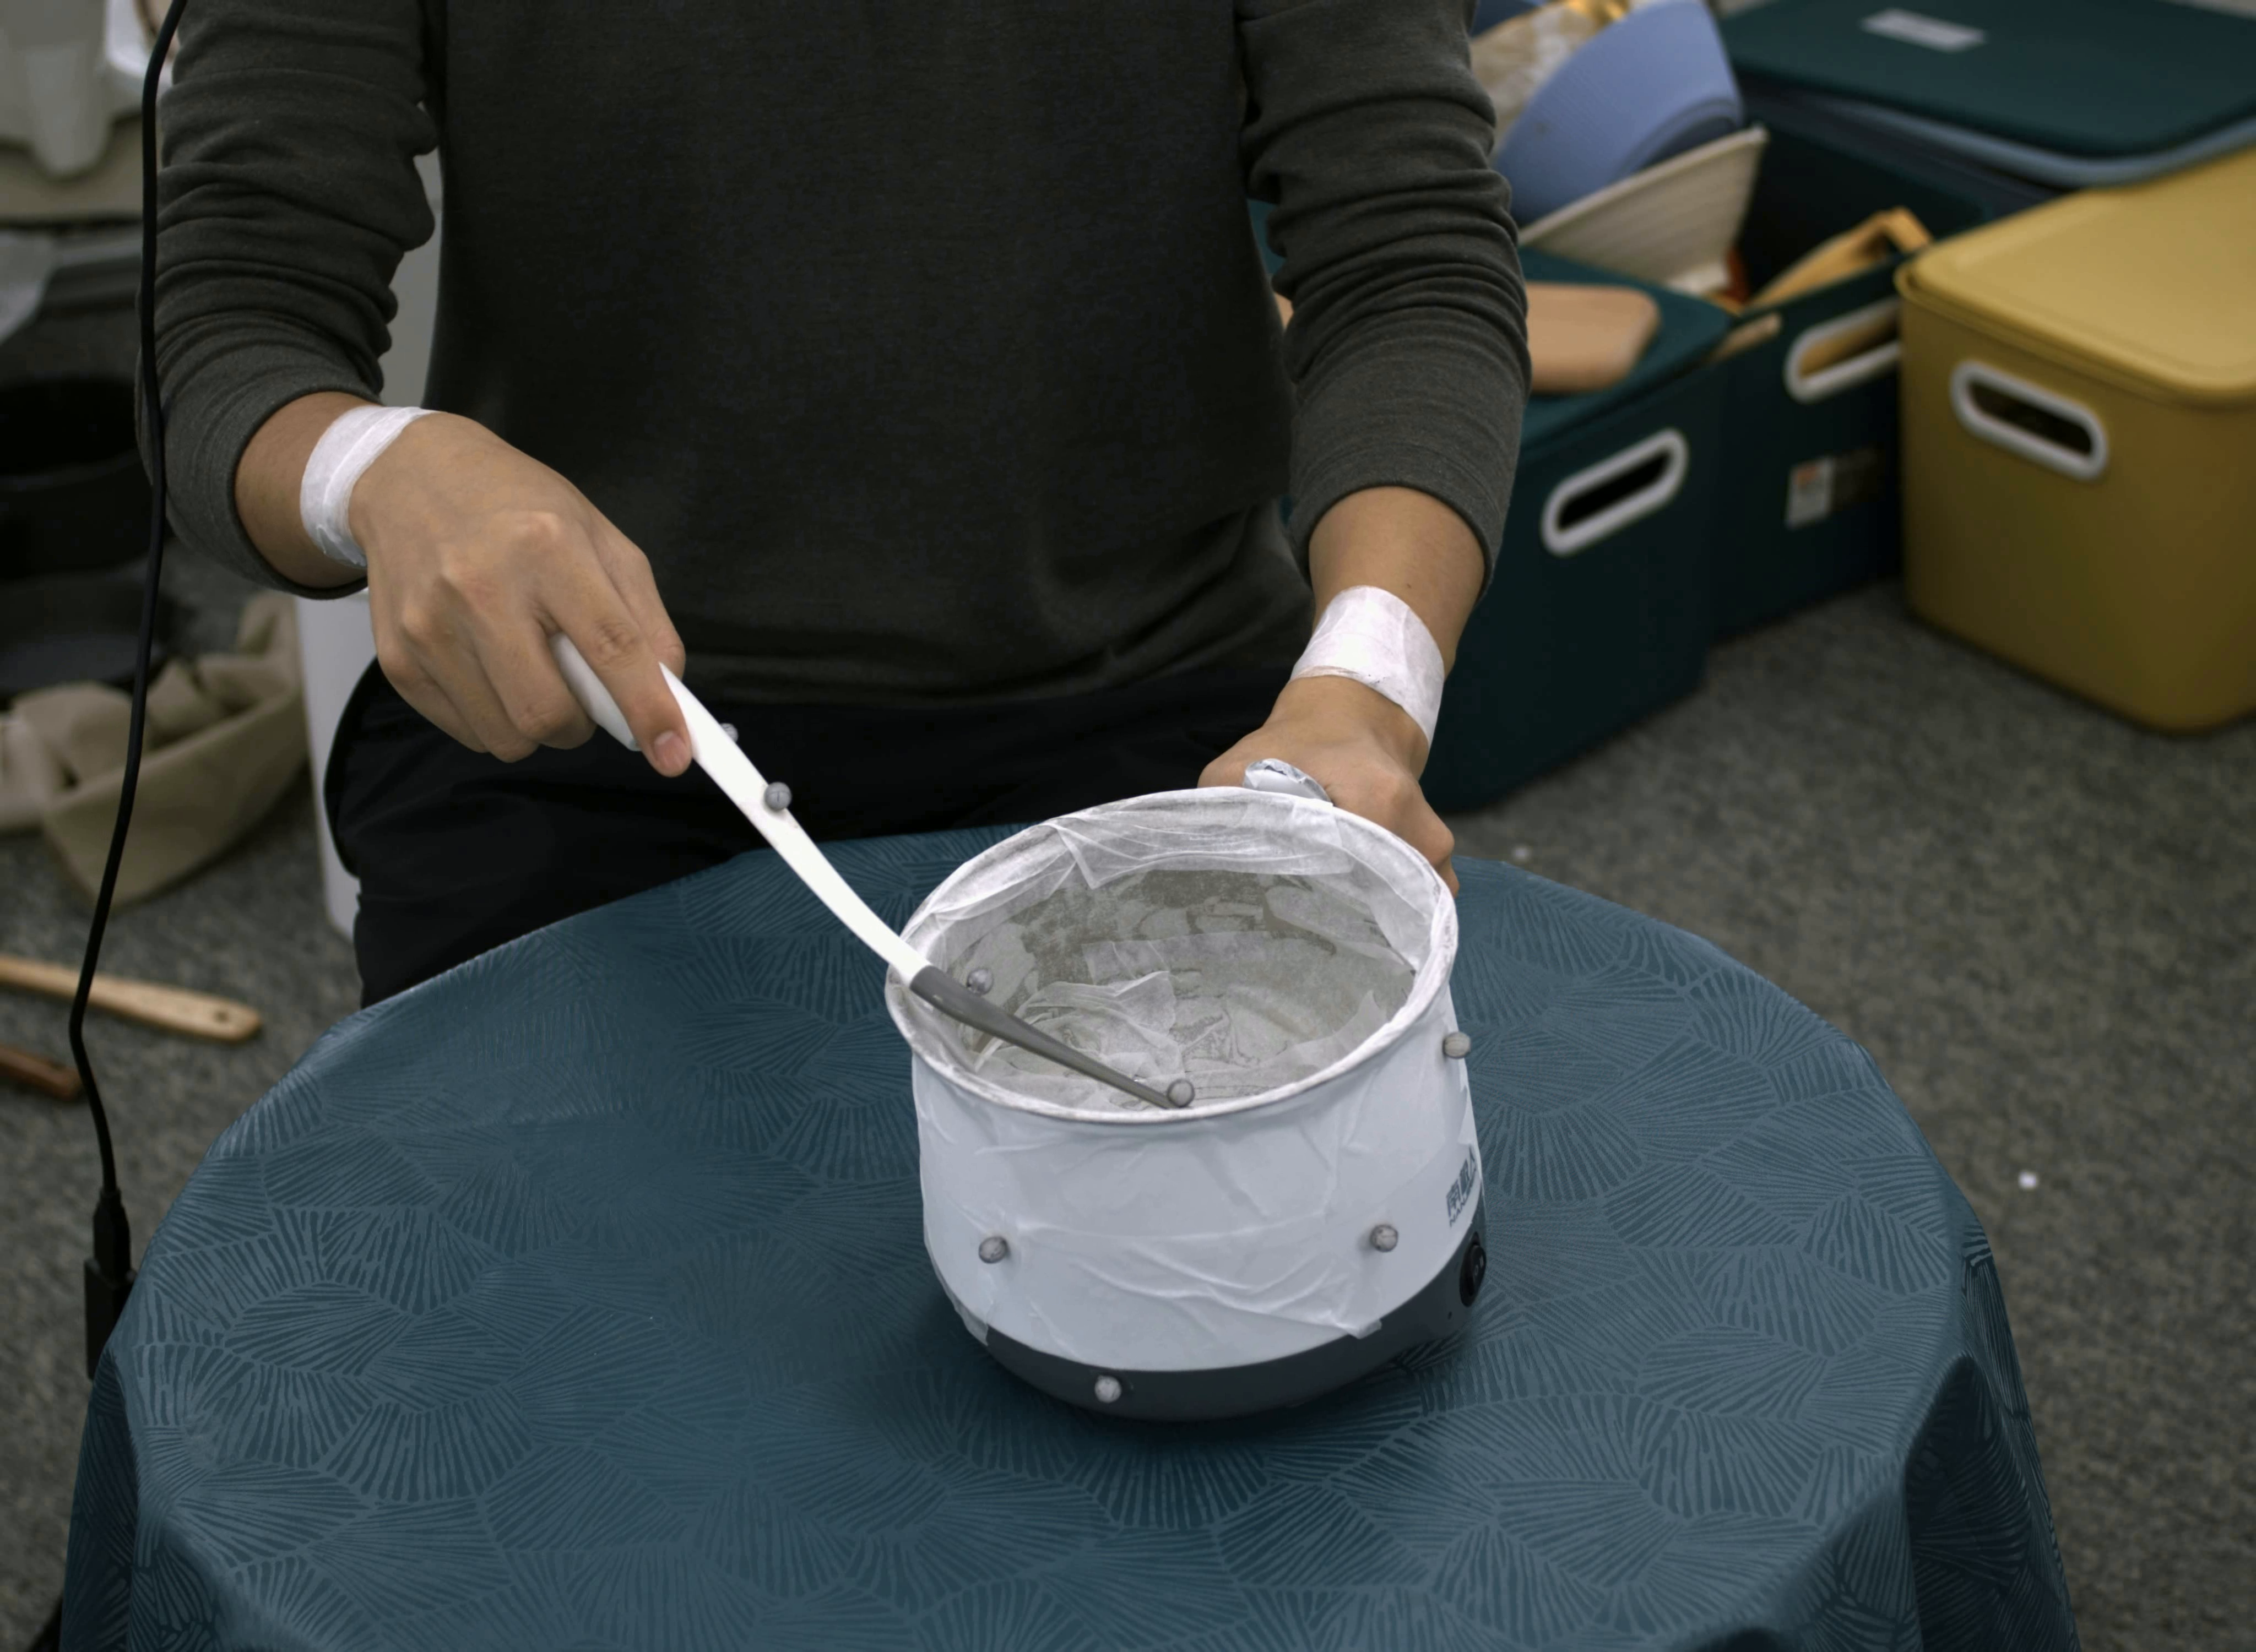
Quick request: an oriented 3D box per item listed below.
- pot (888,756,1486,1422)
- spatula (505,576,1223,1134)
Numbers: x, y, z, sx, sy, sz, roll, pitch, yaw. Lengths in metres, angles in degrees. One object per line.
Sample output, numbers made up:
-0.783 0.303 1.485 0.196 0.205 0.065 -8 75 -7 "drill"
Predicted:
0.029 0.074 1.783 0.177 0.135 0.238 5 34 18 "pot"
-0.082 0.016 1.731 0.288 0.032 0.058 38 0 23 "spatula"
